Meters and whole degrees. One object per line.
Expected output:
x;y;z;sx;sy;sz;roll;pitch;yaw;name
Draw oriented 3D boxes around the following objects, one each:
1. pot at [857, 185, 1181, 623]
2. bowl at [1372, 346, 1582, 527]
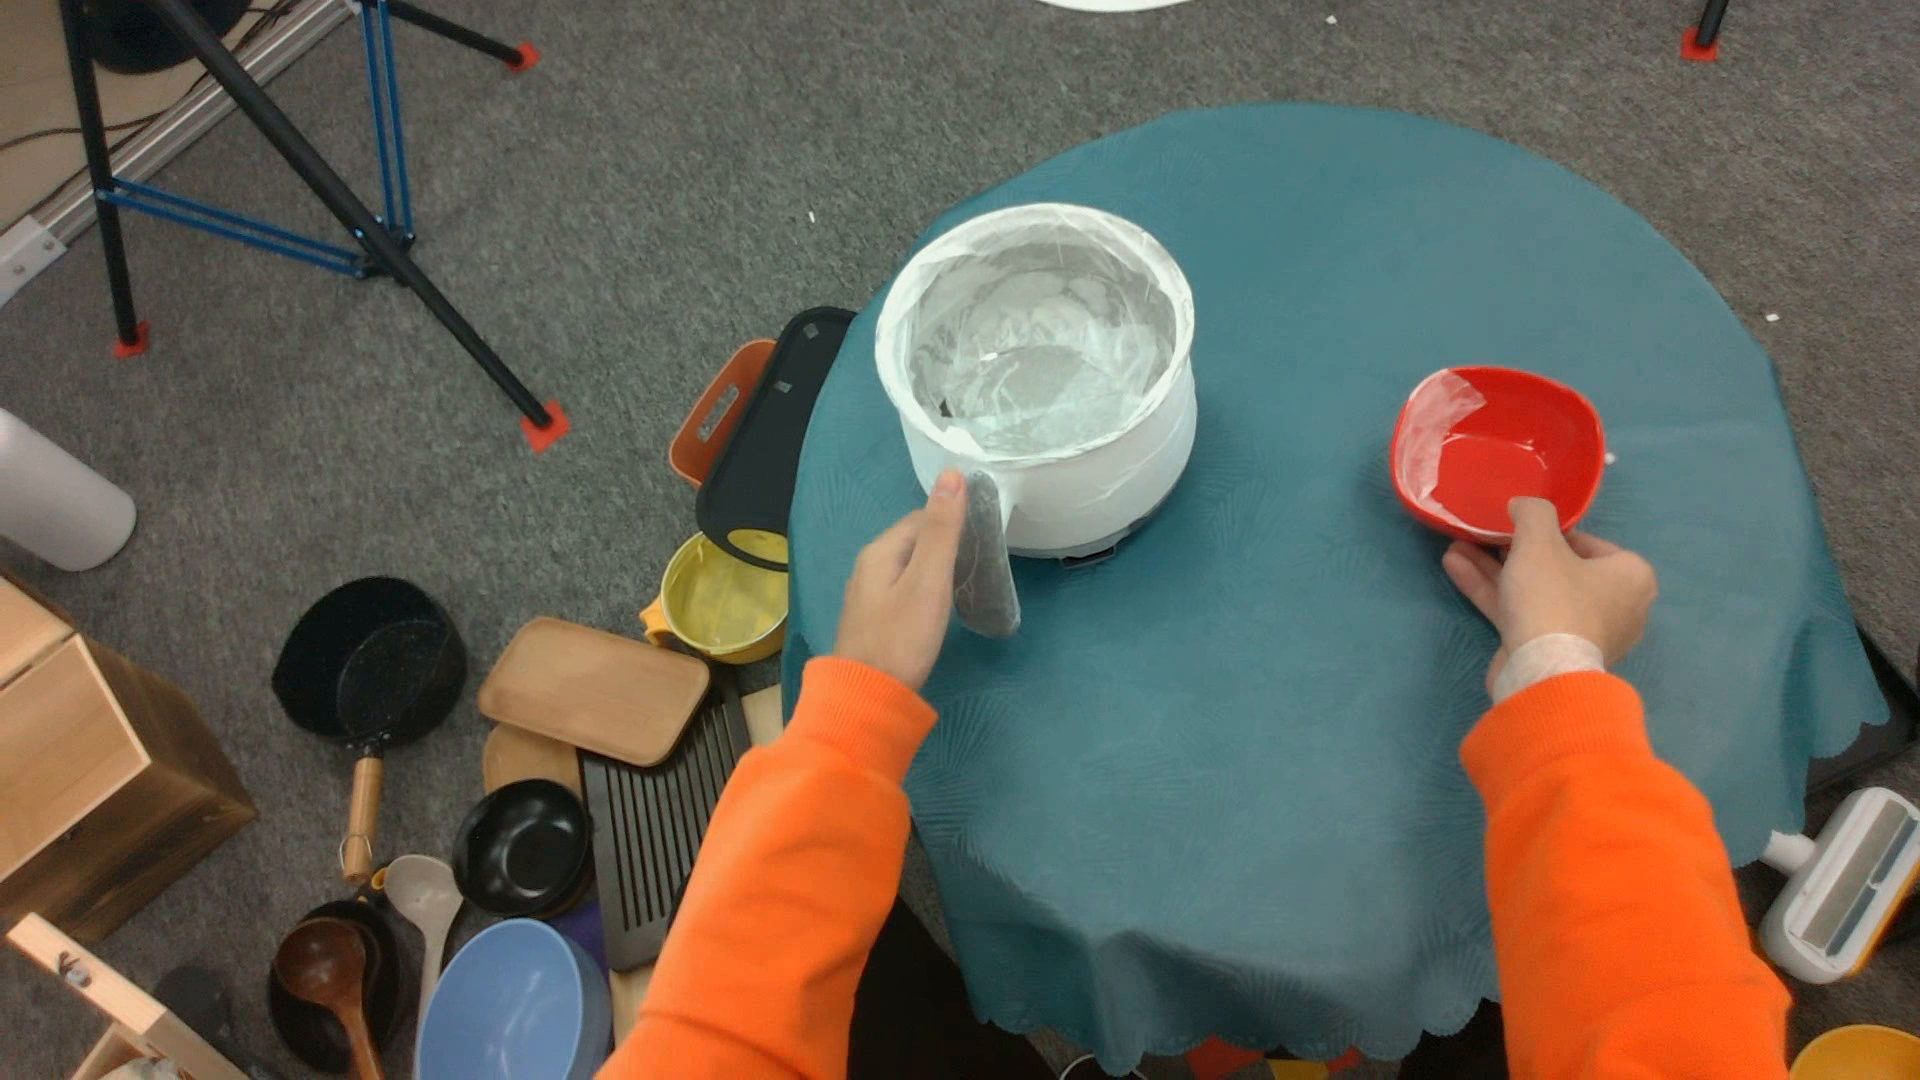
0.033;-0.074;0.798;0.178;0.136;0.234;9;64;15;pot
0.292;-0.051;0.790;0.119;0.051;0.119;-4;61;7;bowl
